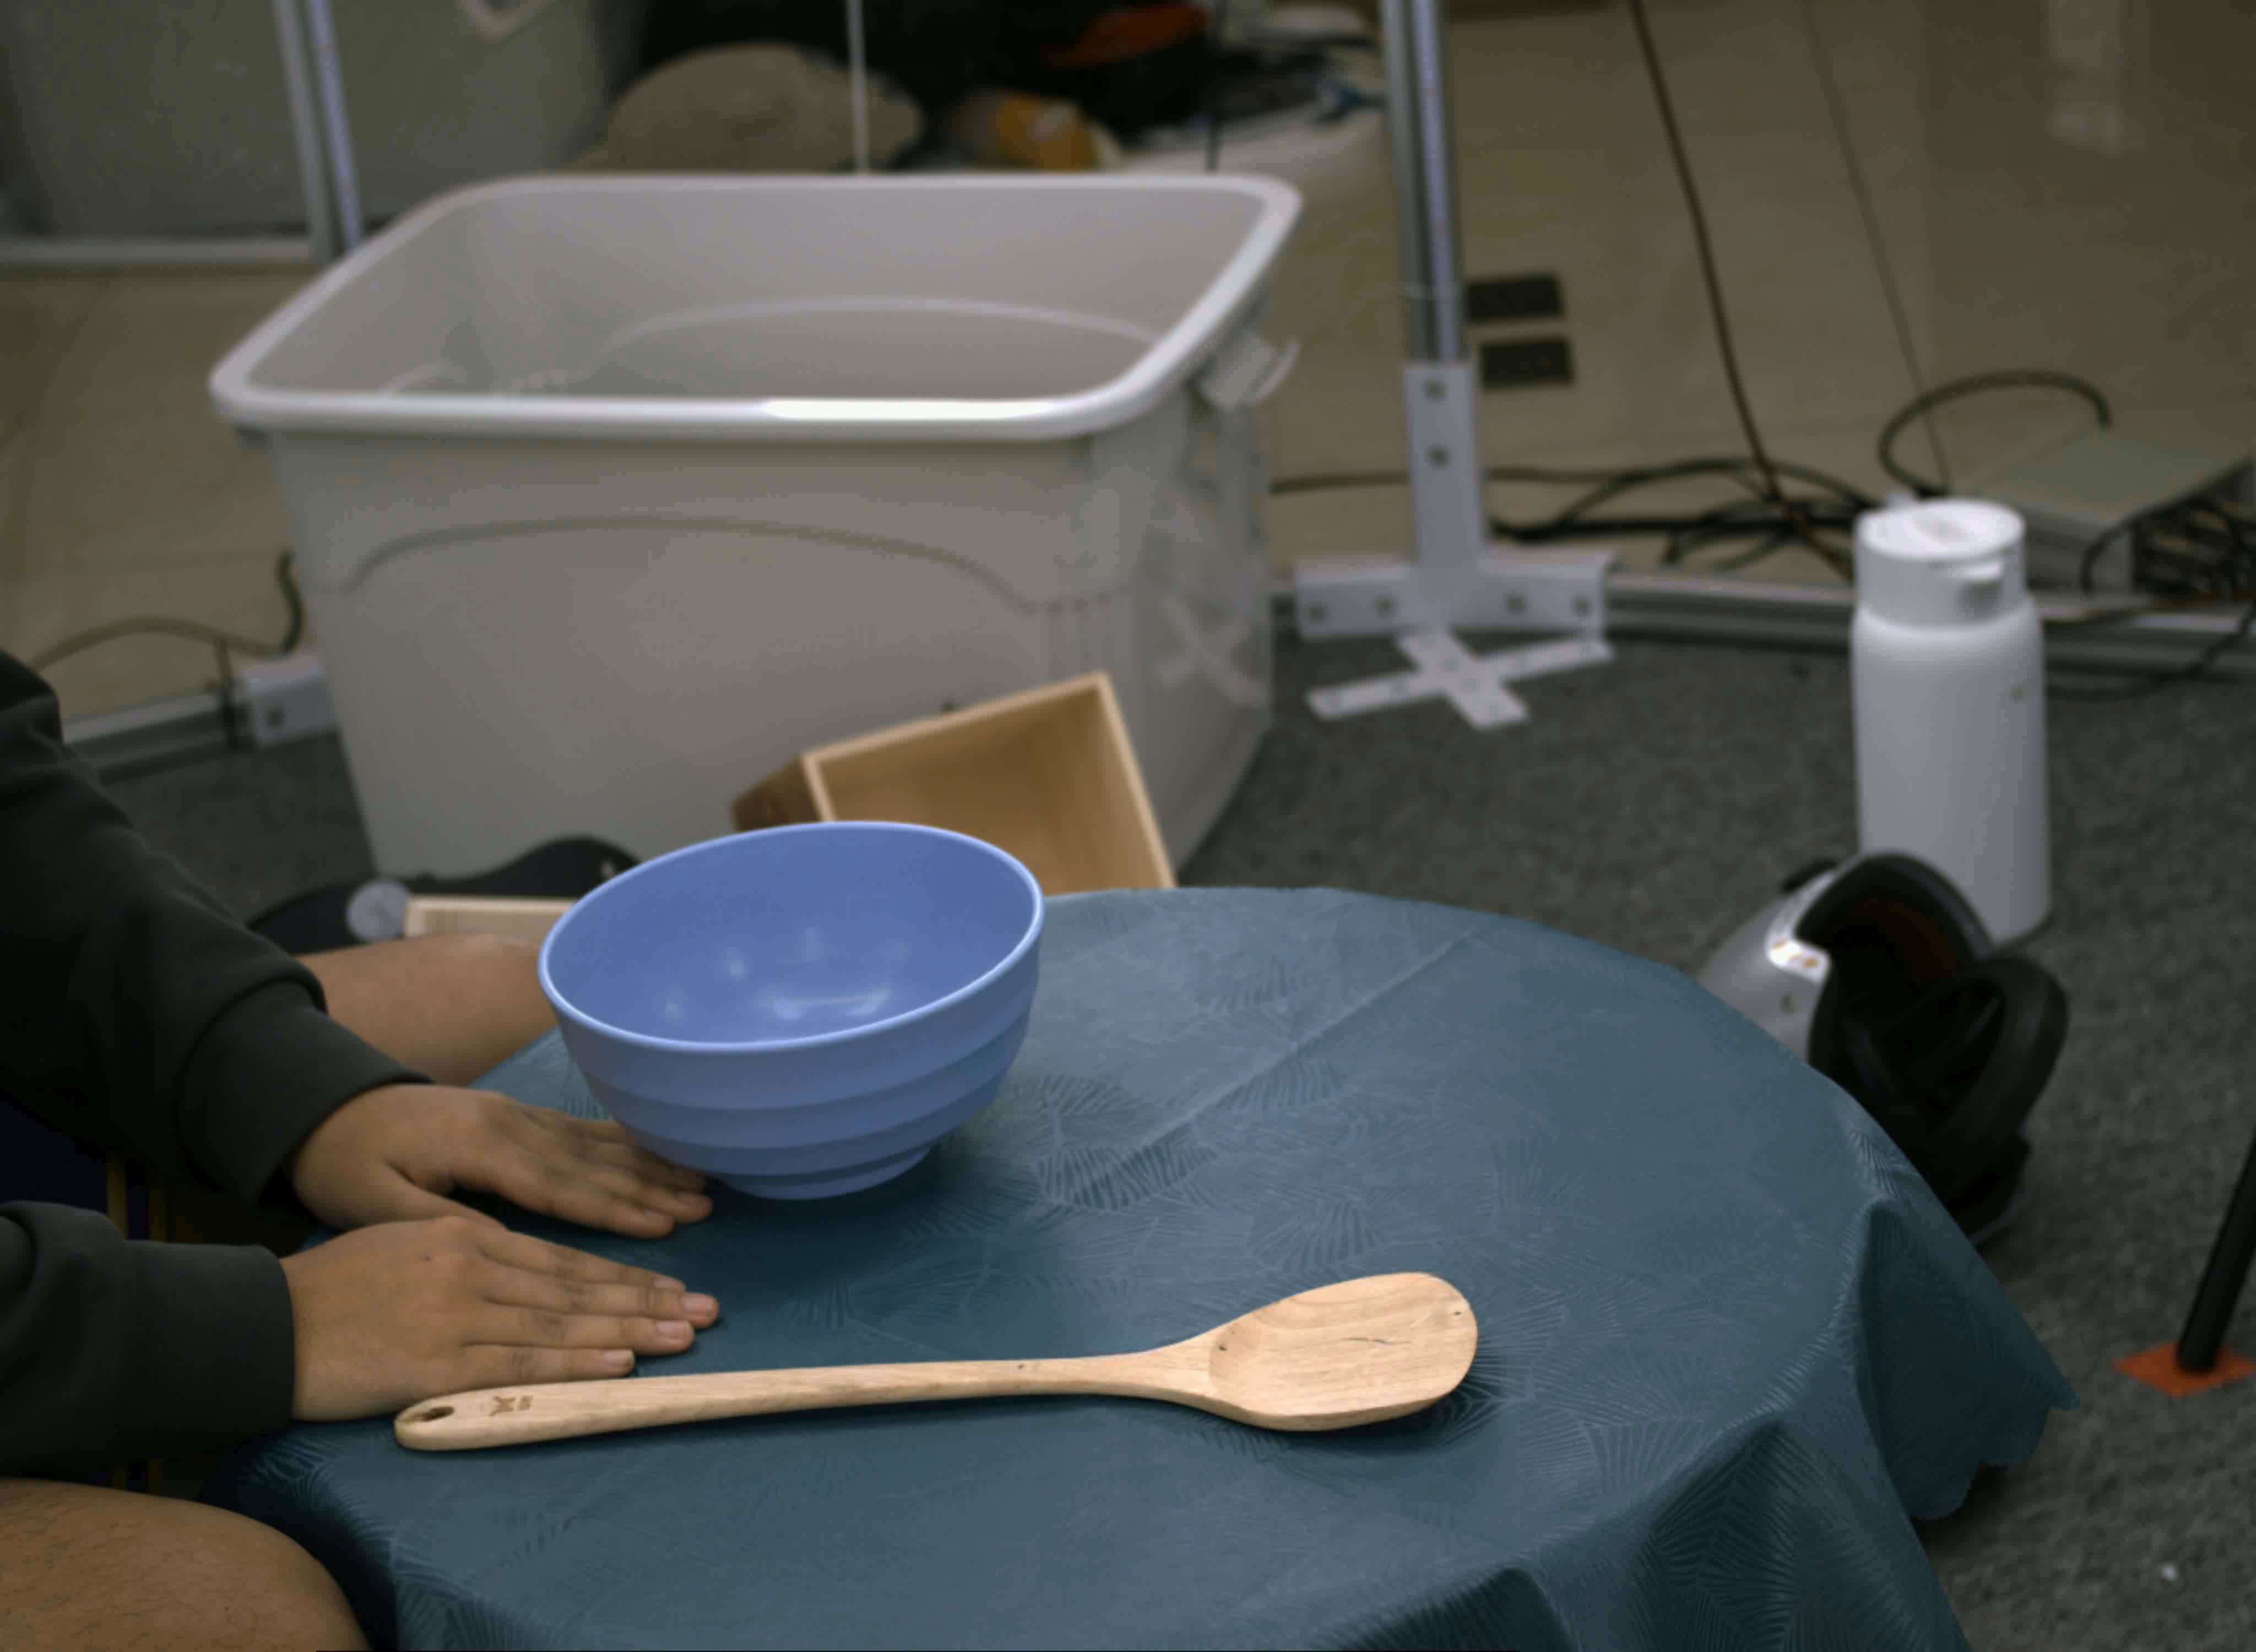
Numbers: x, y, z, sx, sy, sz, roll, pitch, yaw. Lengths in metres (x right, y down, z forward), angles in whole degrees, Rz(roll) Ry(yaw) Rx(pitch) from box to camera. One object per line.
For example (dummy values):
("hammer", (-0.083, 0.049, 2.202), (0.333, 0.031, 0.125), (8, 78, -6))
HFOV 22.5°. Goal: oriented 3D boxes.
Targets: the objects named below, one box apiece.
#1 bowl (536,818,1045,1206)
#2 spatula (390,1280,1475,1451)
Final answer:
("bowl", (-0.125, 0.083, 2.189), (0.196, 0.097, 0.193), (-4, 28, 2))
("spatula", (-0.071, 0.200, 2.012), (0.390, 0.019, 0.094), (-4, 23, 5))
